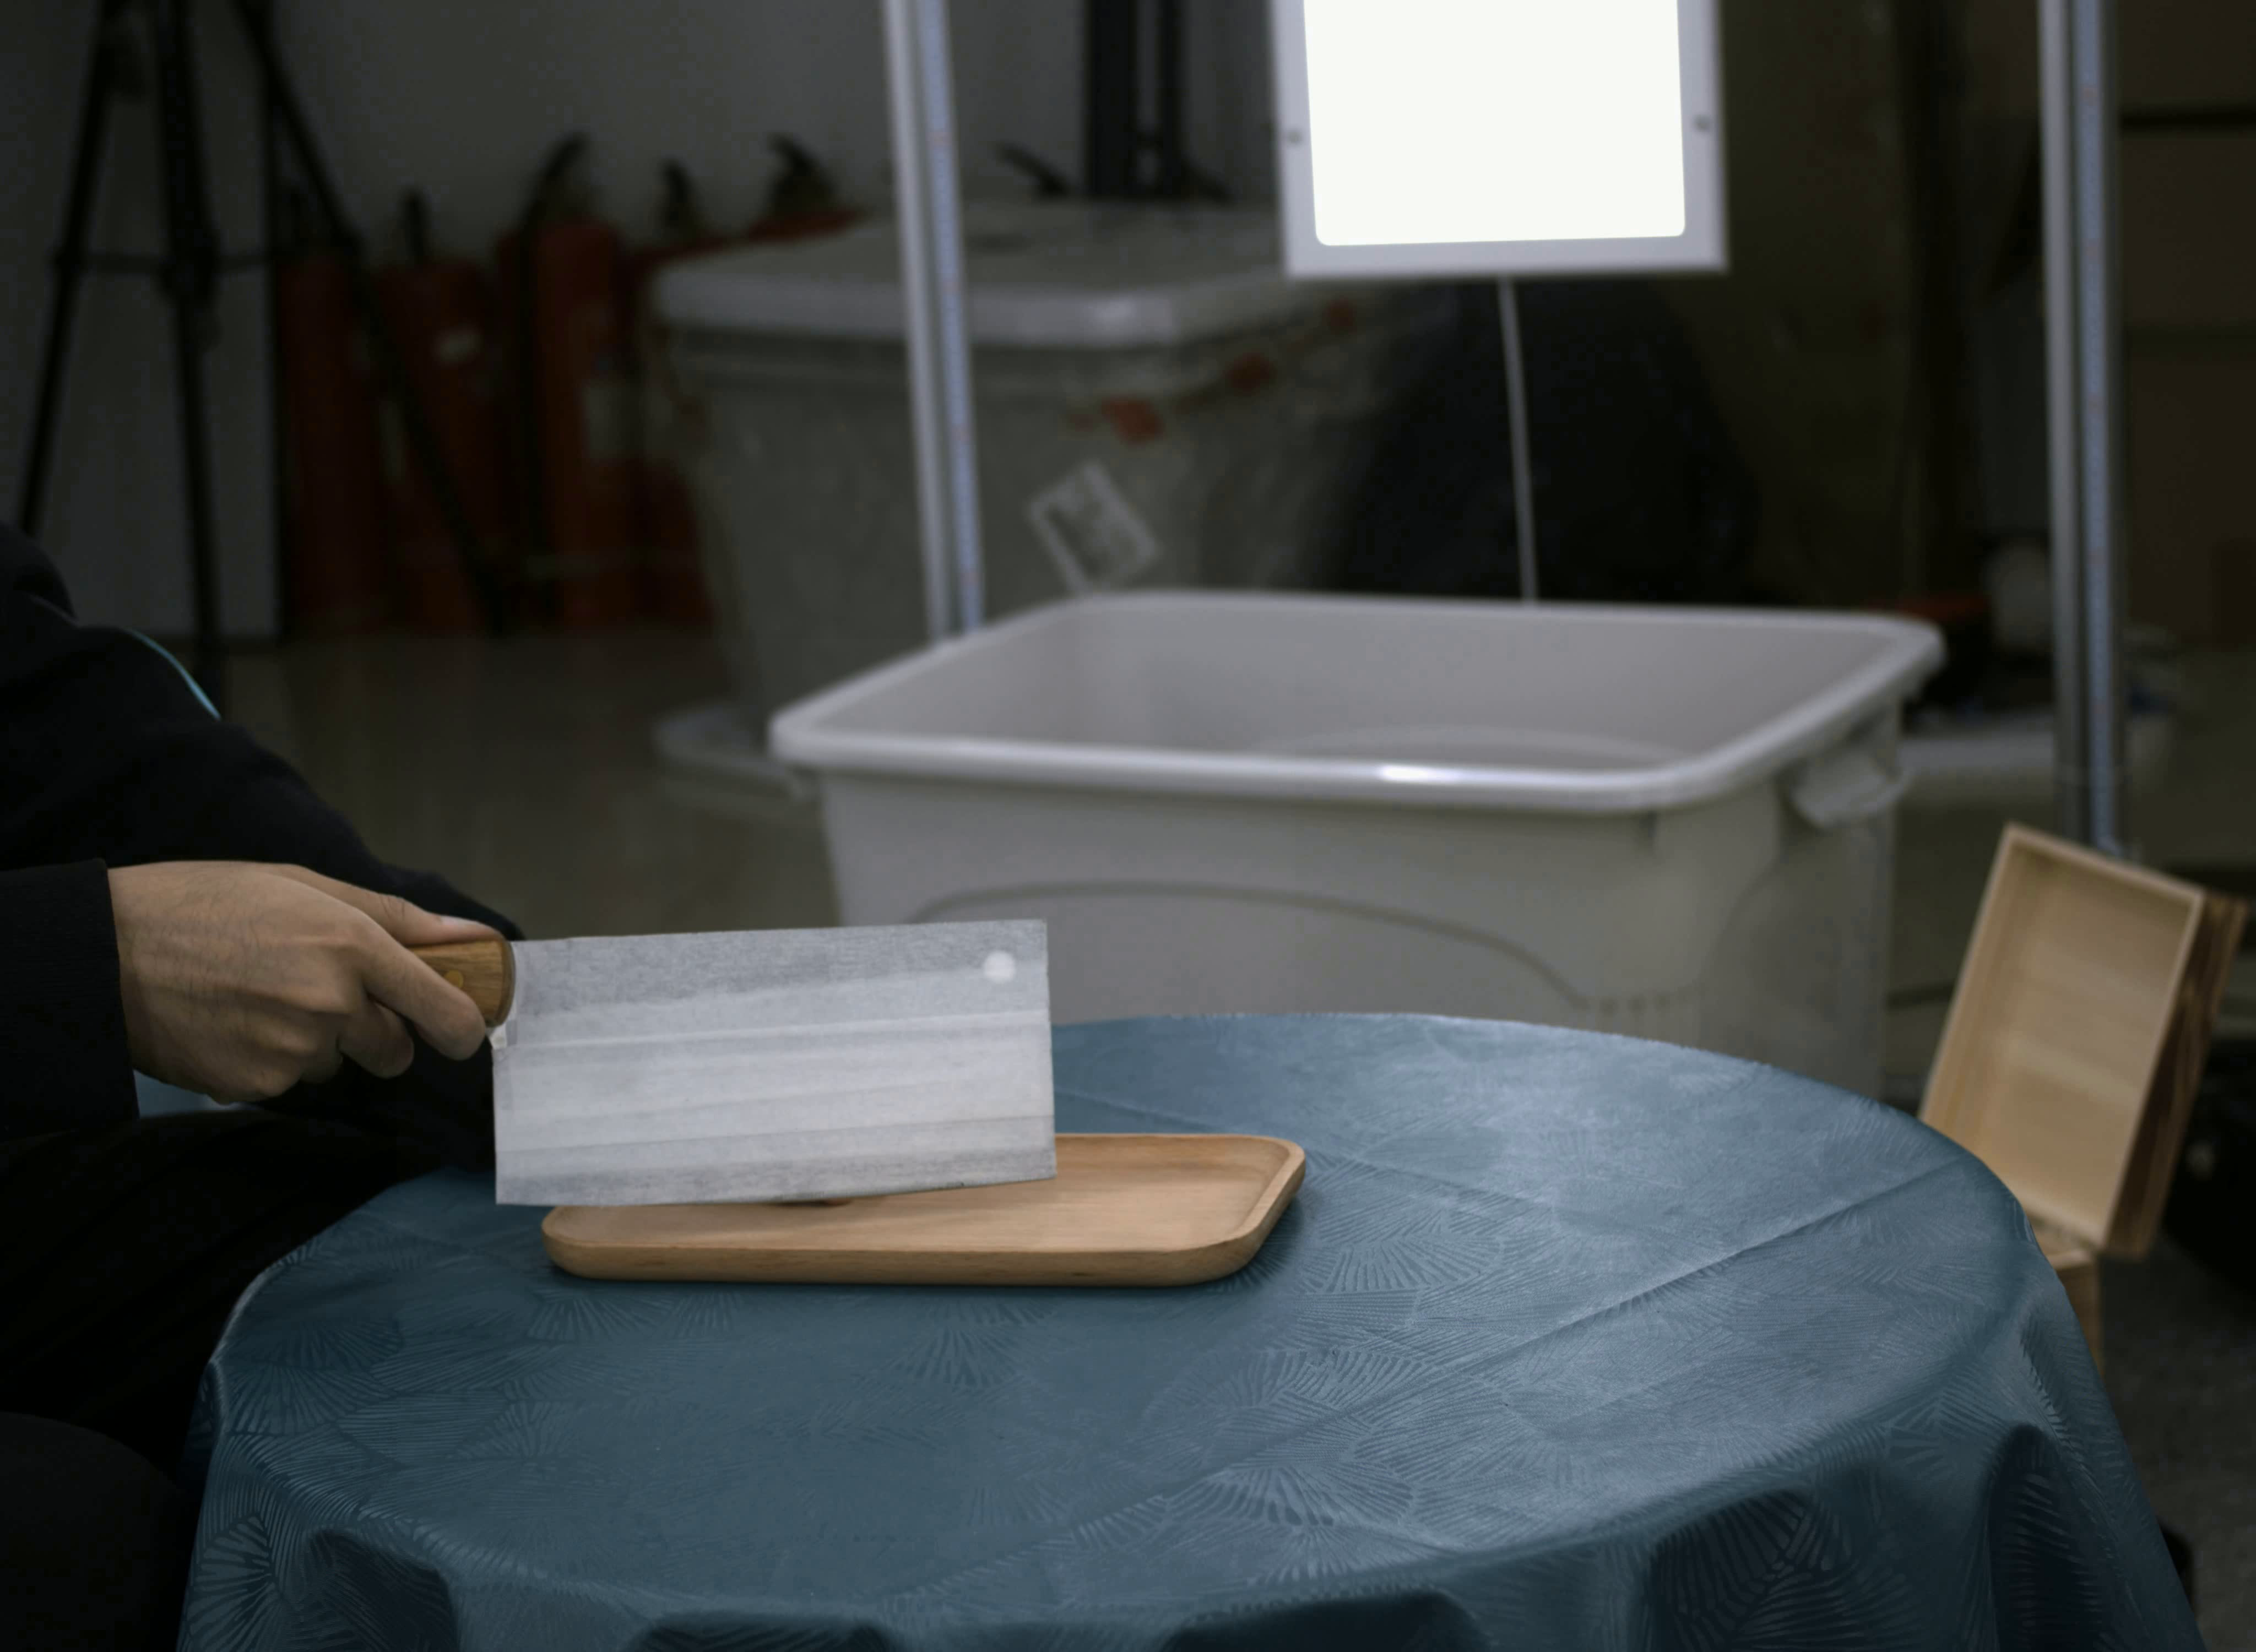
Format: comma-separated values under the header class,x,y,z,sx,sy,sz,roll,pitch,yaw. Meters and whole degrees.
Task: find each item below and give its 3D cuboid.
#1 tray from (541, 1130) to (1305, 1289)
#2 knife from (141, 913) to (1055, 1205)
class,x,y,z,sx,sy,sz,roll,pitch,yaw
tray,-0.069,0.130,1.876,0.254,0.023,0.128,-1,12,19
knife,-0.177,0.080,1.857,0.304,0.093,0.021,-3,3,0
